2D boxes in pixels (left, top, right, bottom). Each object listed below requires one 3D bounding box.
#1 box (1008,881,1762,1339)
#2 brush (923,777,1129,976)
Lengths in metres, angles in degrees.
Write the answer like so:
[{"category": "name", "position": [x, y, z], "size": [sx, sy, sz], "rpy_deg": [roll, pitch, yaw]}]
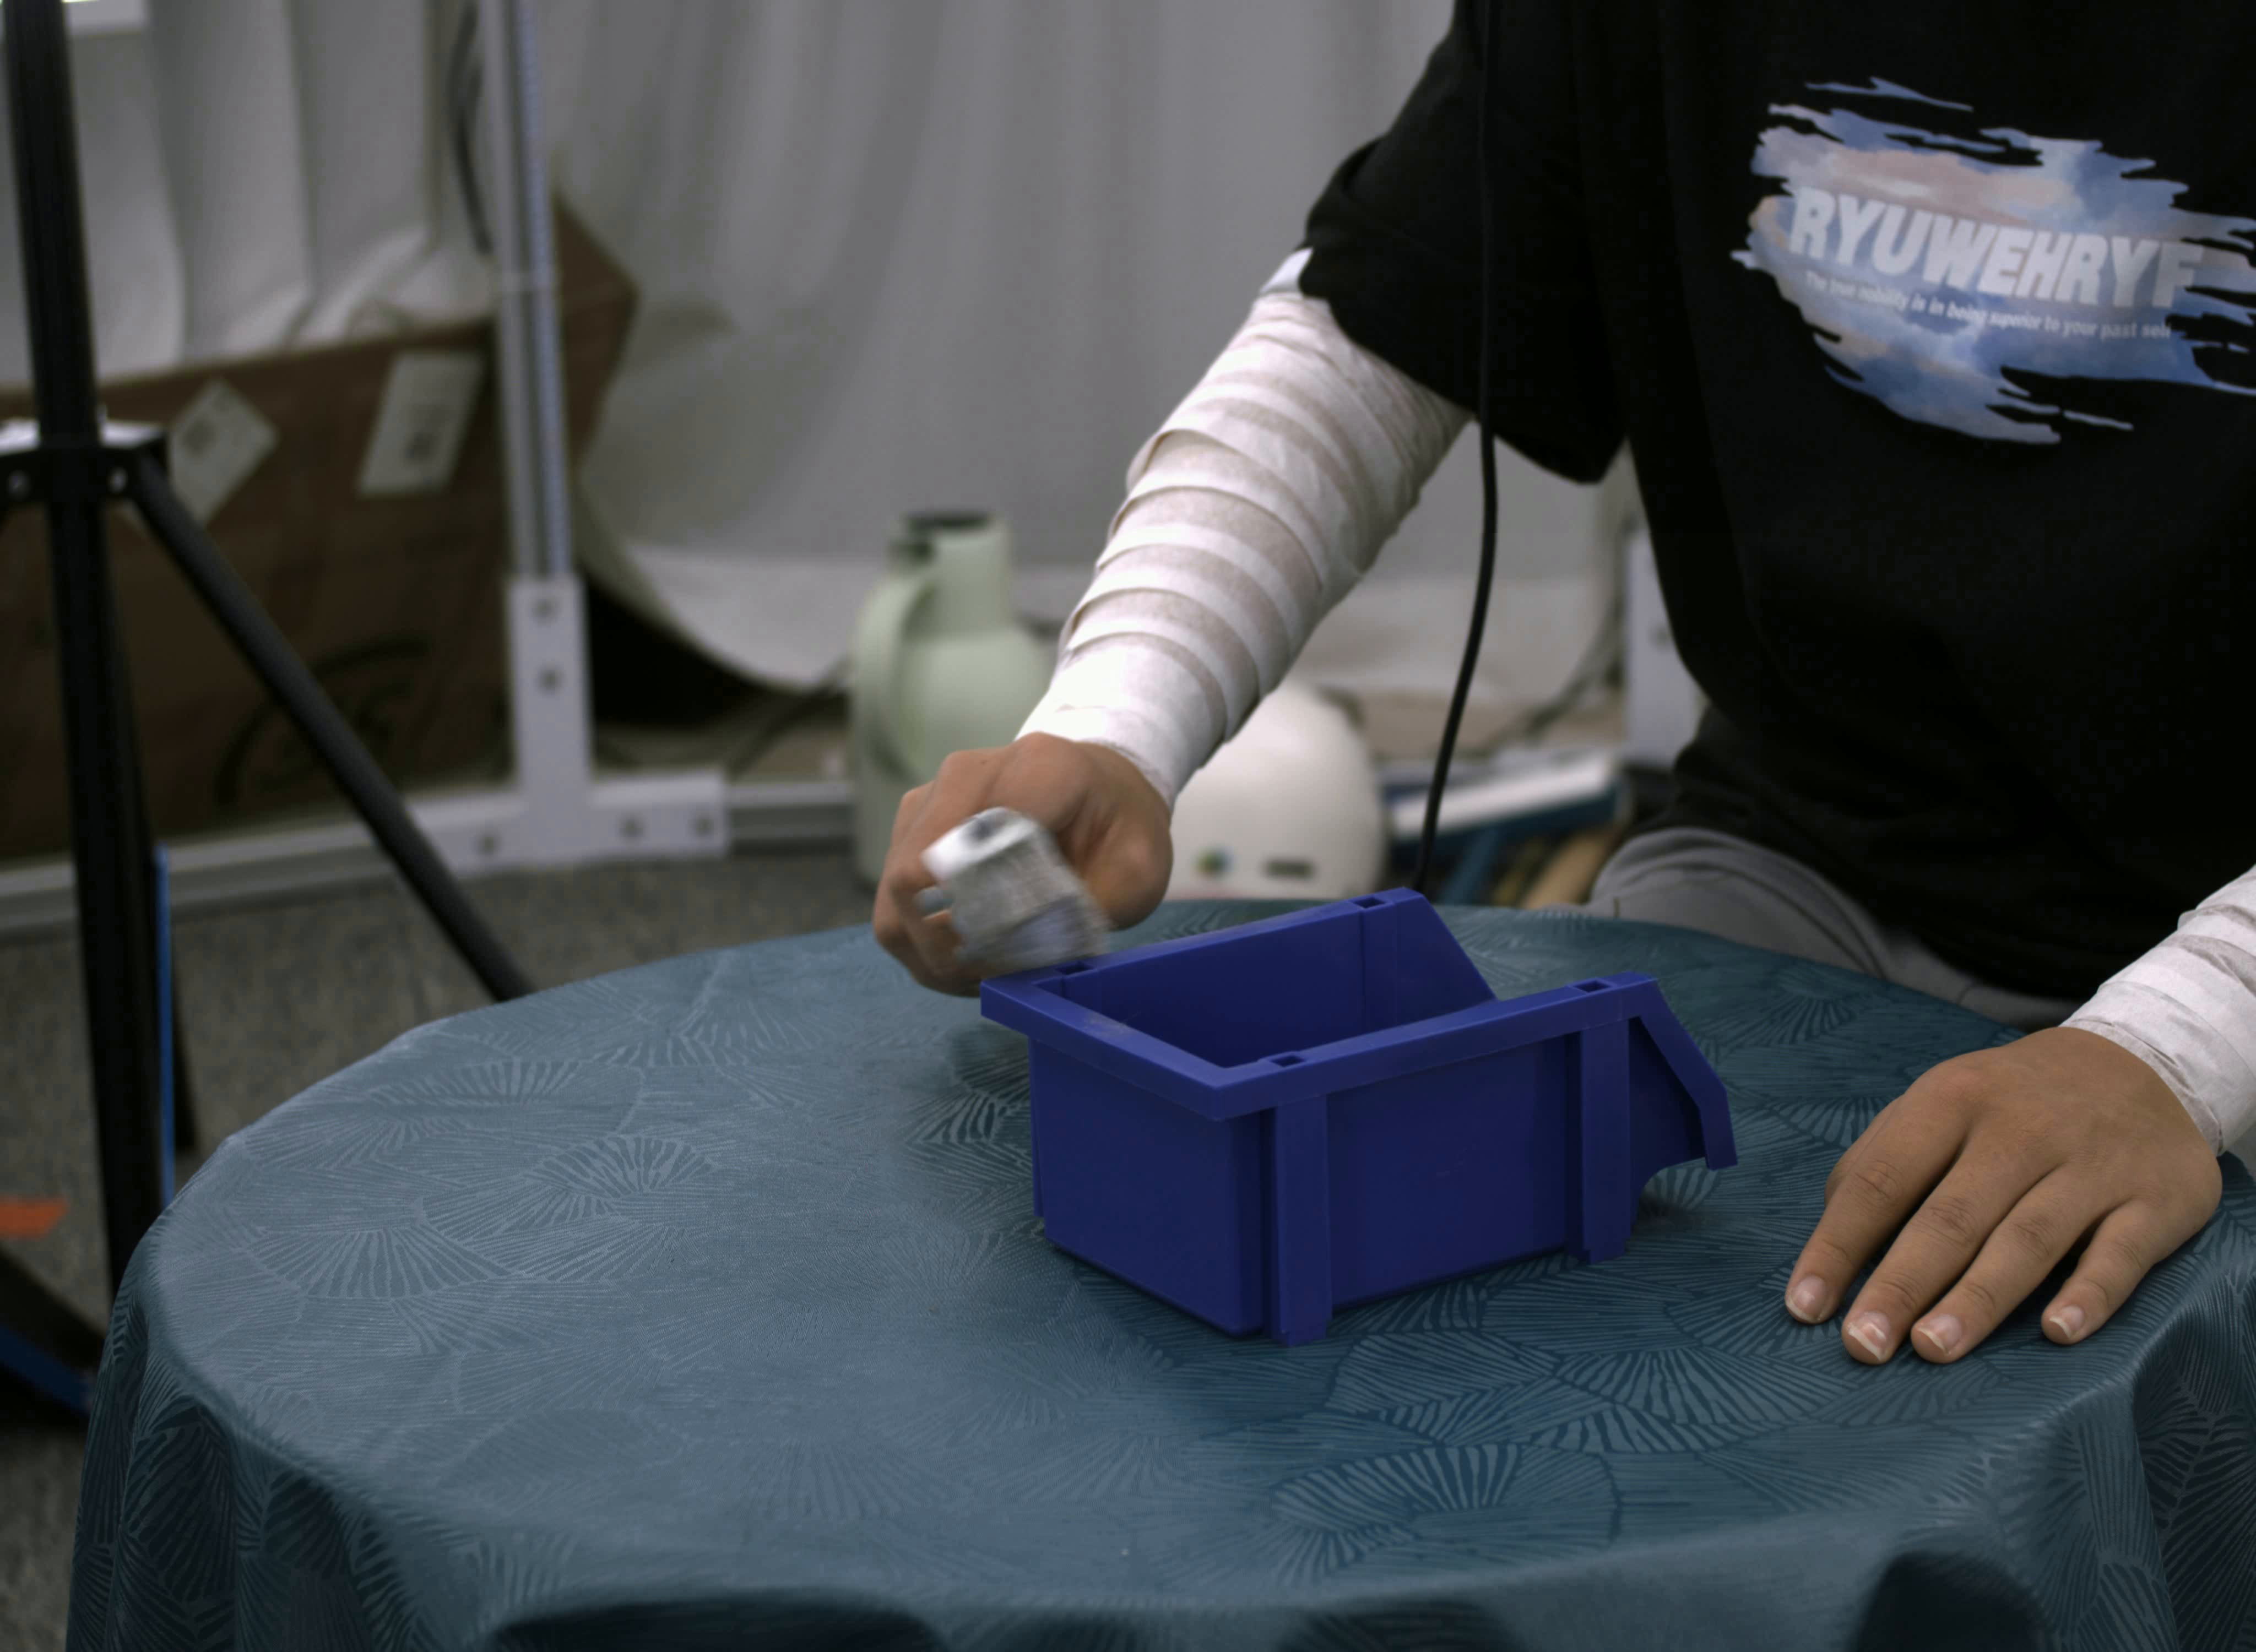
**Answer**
[{"category": "box", "position": [0.073, 0.077, 1.511], "size": [0.175, 0.082, 0.127], "rpy_deg": [-12, 18, -28]}, {"category": "brush", "position": [-0.033, 0.034, 1.605], "size": [0.034, 0.050, 0.244], "rpy_deg": [-28, -7, -11]}]
